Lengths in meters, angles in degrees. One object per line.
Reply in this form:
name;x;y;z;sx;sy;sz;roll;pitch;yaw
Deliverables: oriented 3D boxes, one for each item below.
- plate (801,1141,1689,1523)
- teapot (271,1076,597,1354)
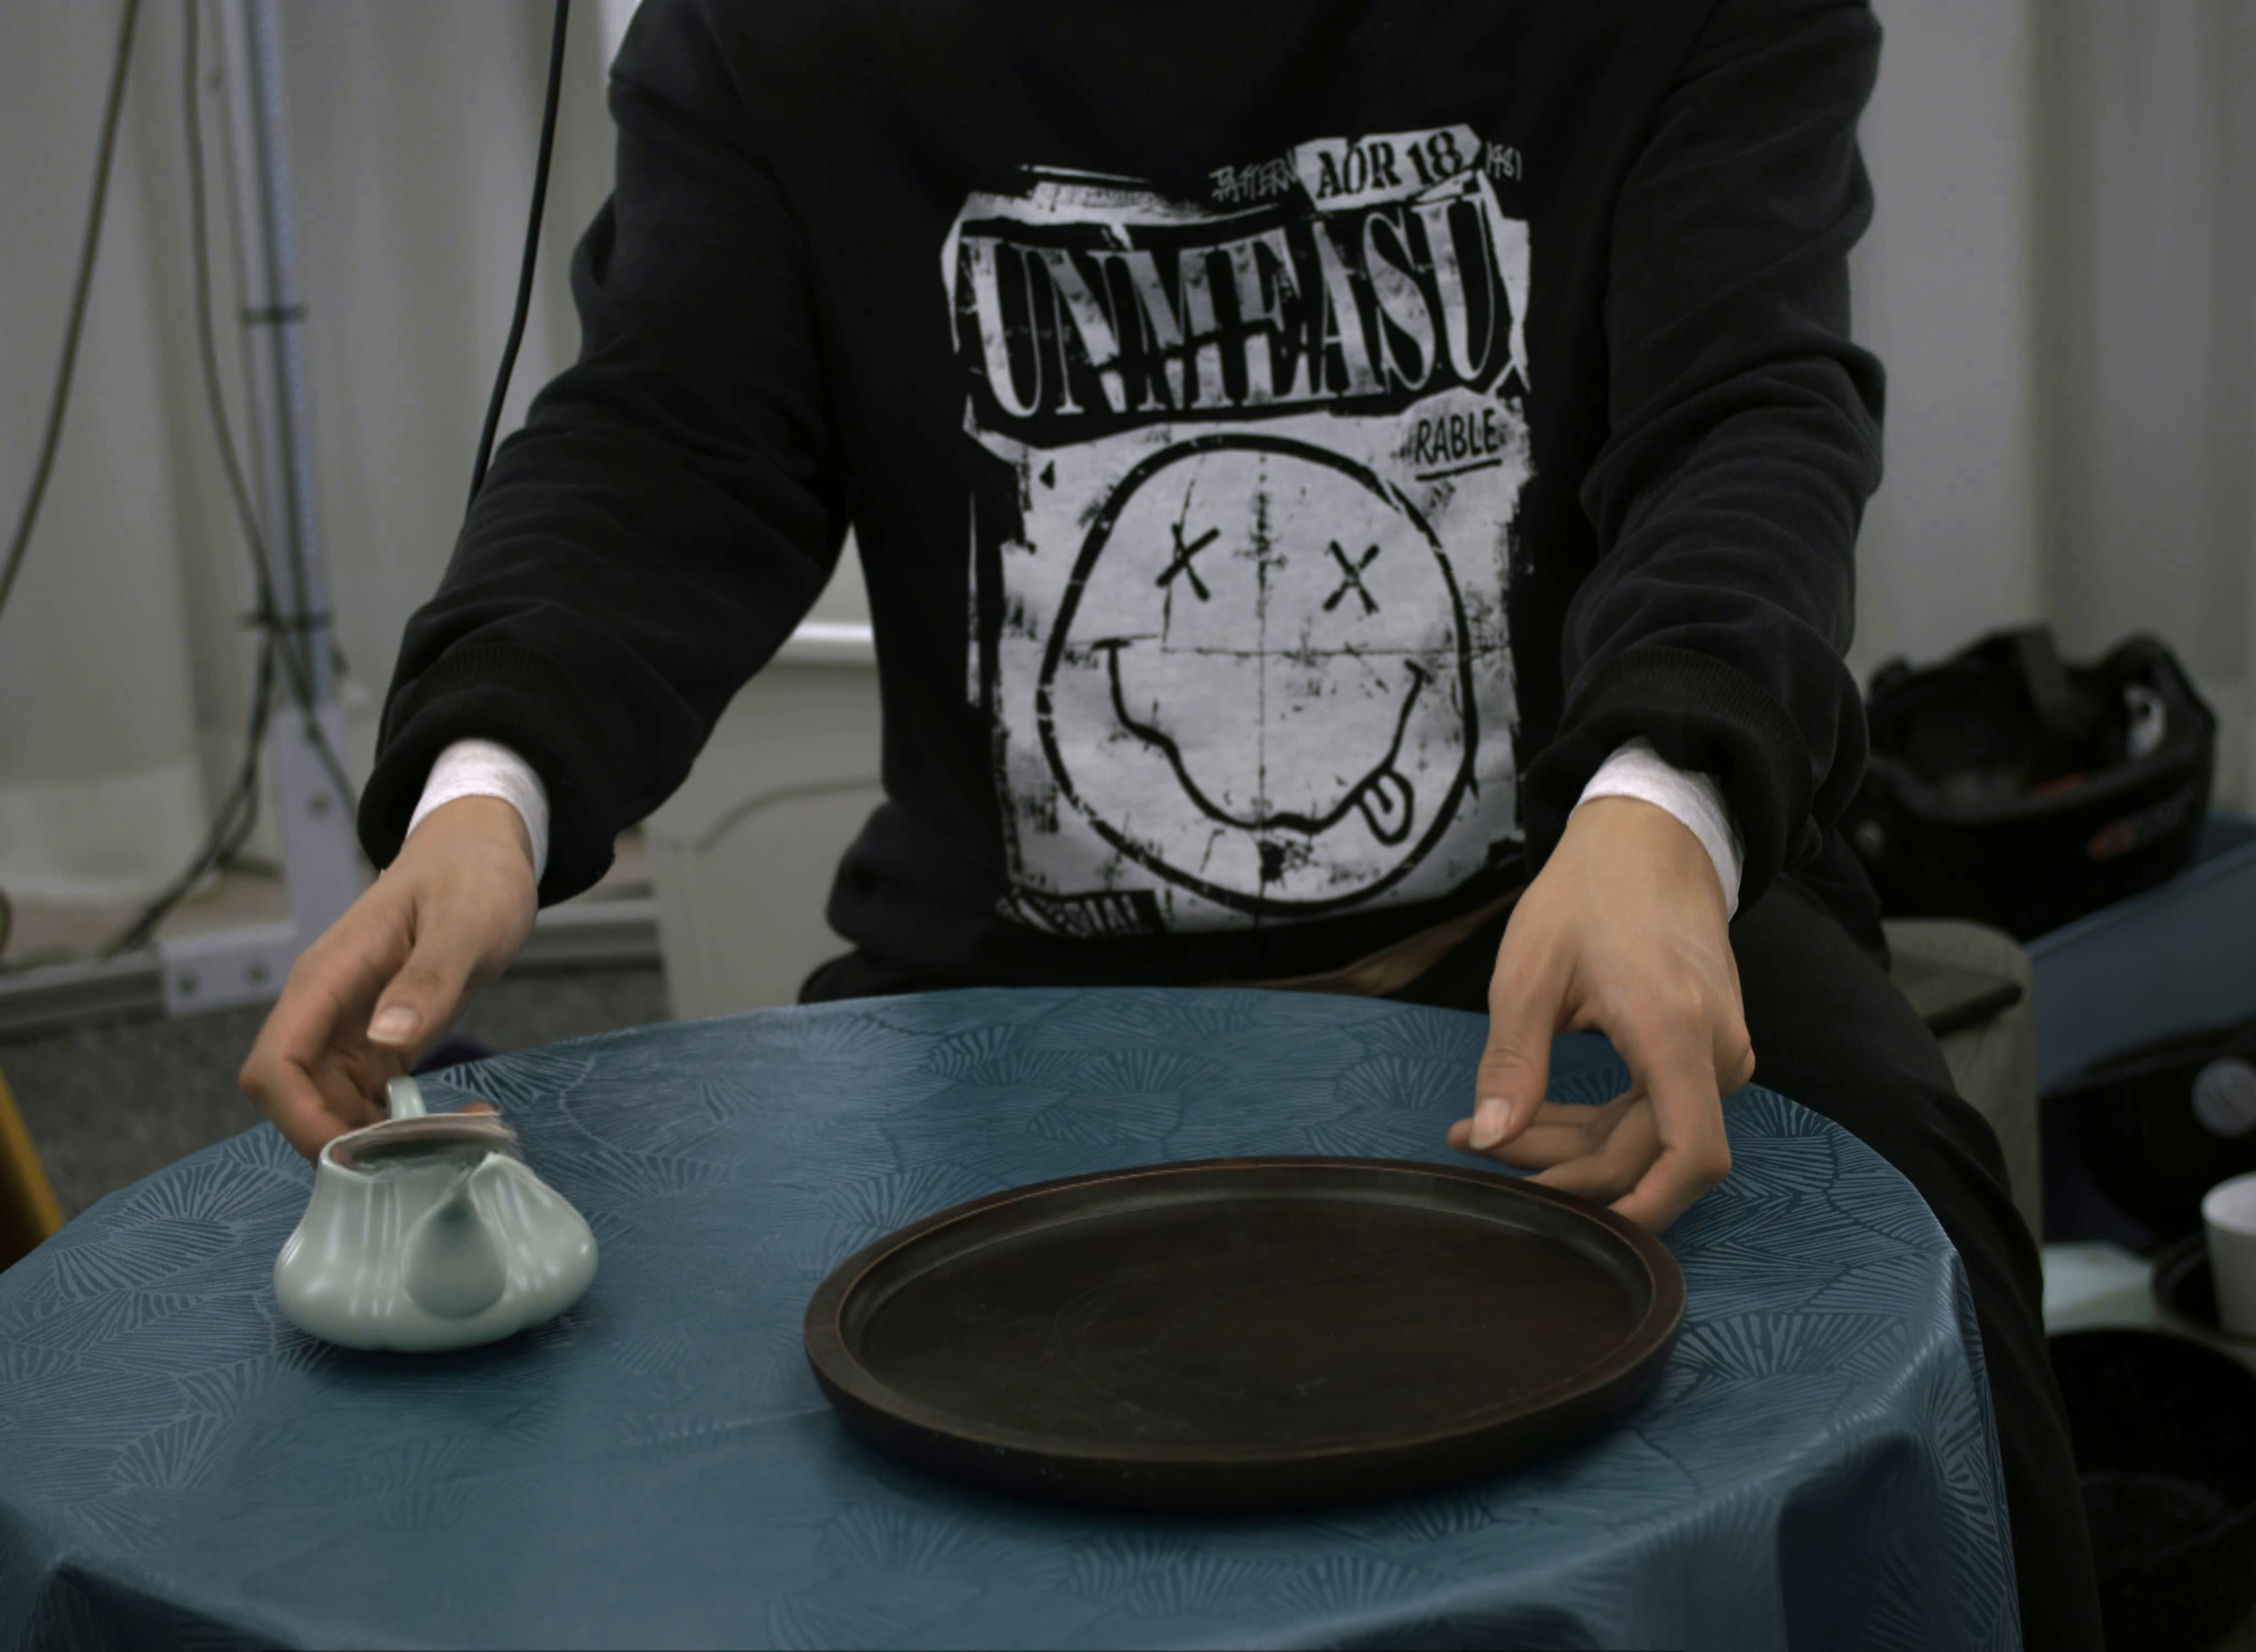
plate;0.033;0.143;1.554;0.254;0.029;0.256;-4;15;1
teapot;-0.207;0.118;1.624;0.096;0.061;0.138;-8;16;-16
